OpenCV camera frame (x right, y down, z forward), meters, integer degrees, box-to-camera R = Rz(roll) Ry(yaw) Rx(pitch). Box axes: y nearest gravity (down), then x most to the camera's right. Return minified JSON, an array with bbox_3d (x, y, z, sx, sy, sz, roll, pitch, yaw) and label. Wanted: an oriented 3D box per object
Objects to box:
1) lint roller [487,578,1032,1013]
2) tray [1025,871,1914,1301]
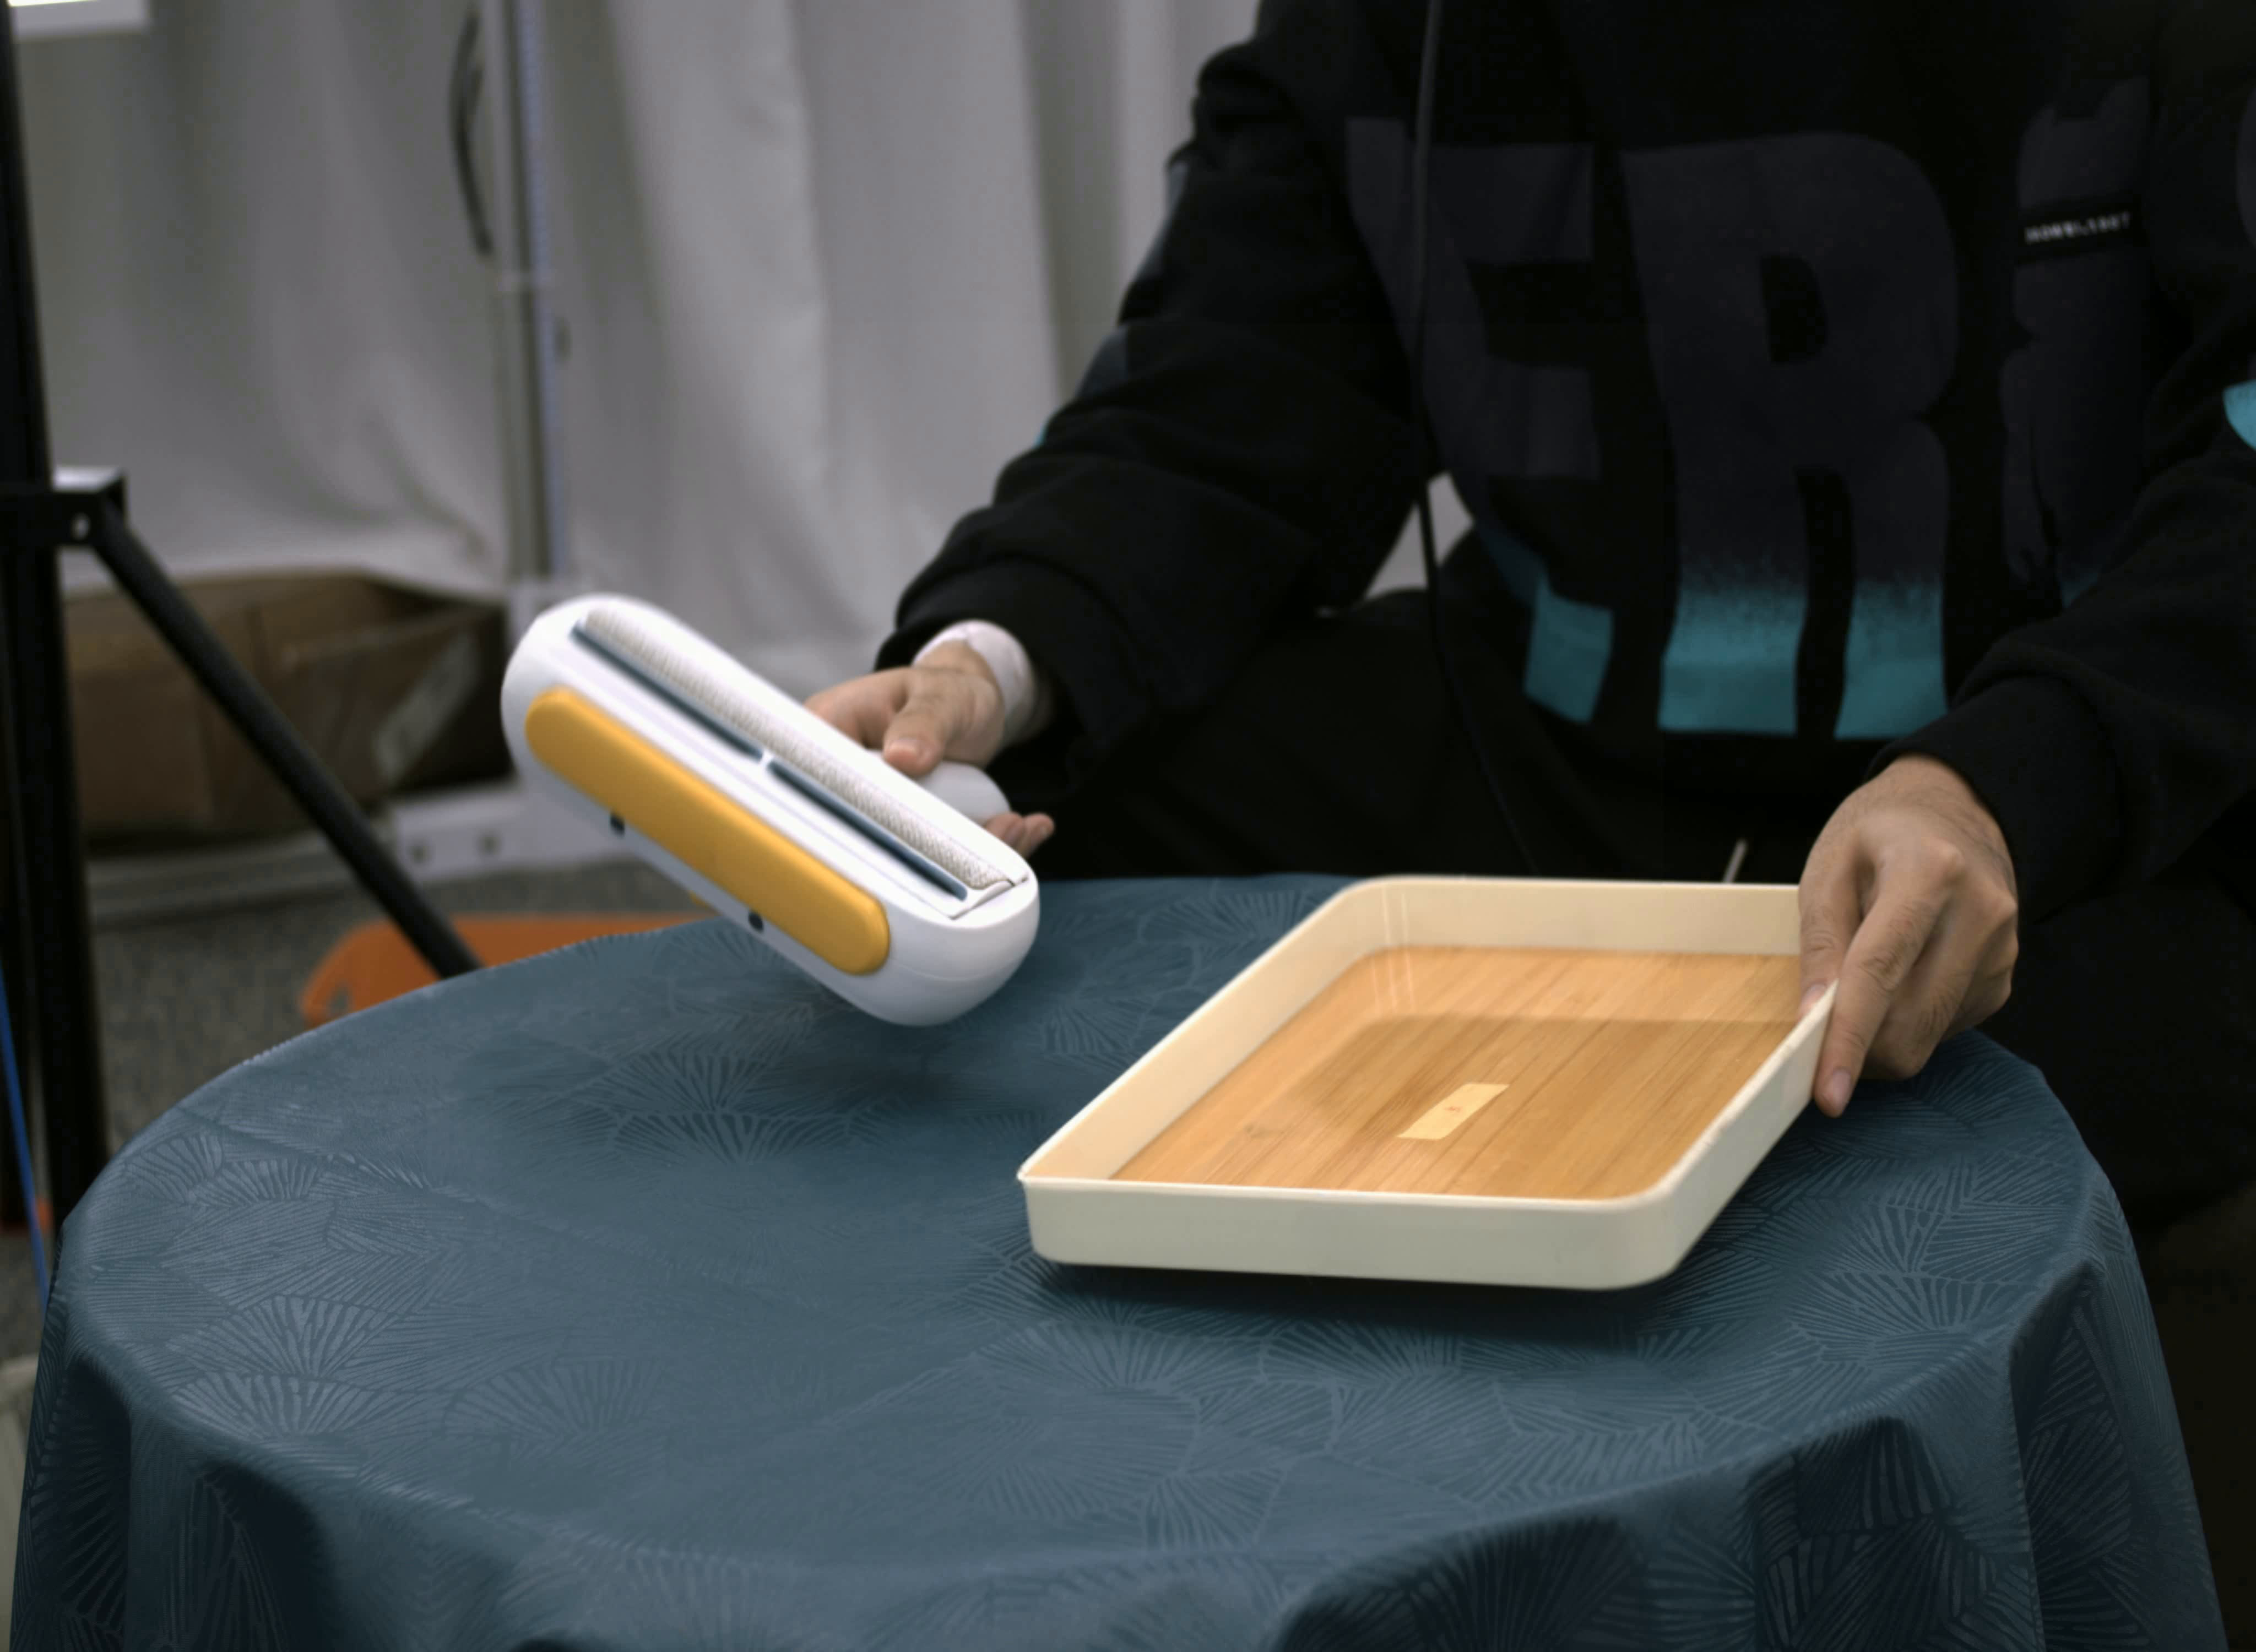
[{"bbox_3d":[-0.090,-0.012,1.721,0.196,0.074,0.188,32,24,27],"label":"lint roller"},{"bbox_3d":[0.109,0.072,1.567,0.194,0.027,0.296,2,17,23],"label":"tray"}]
